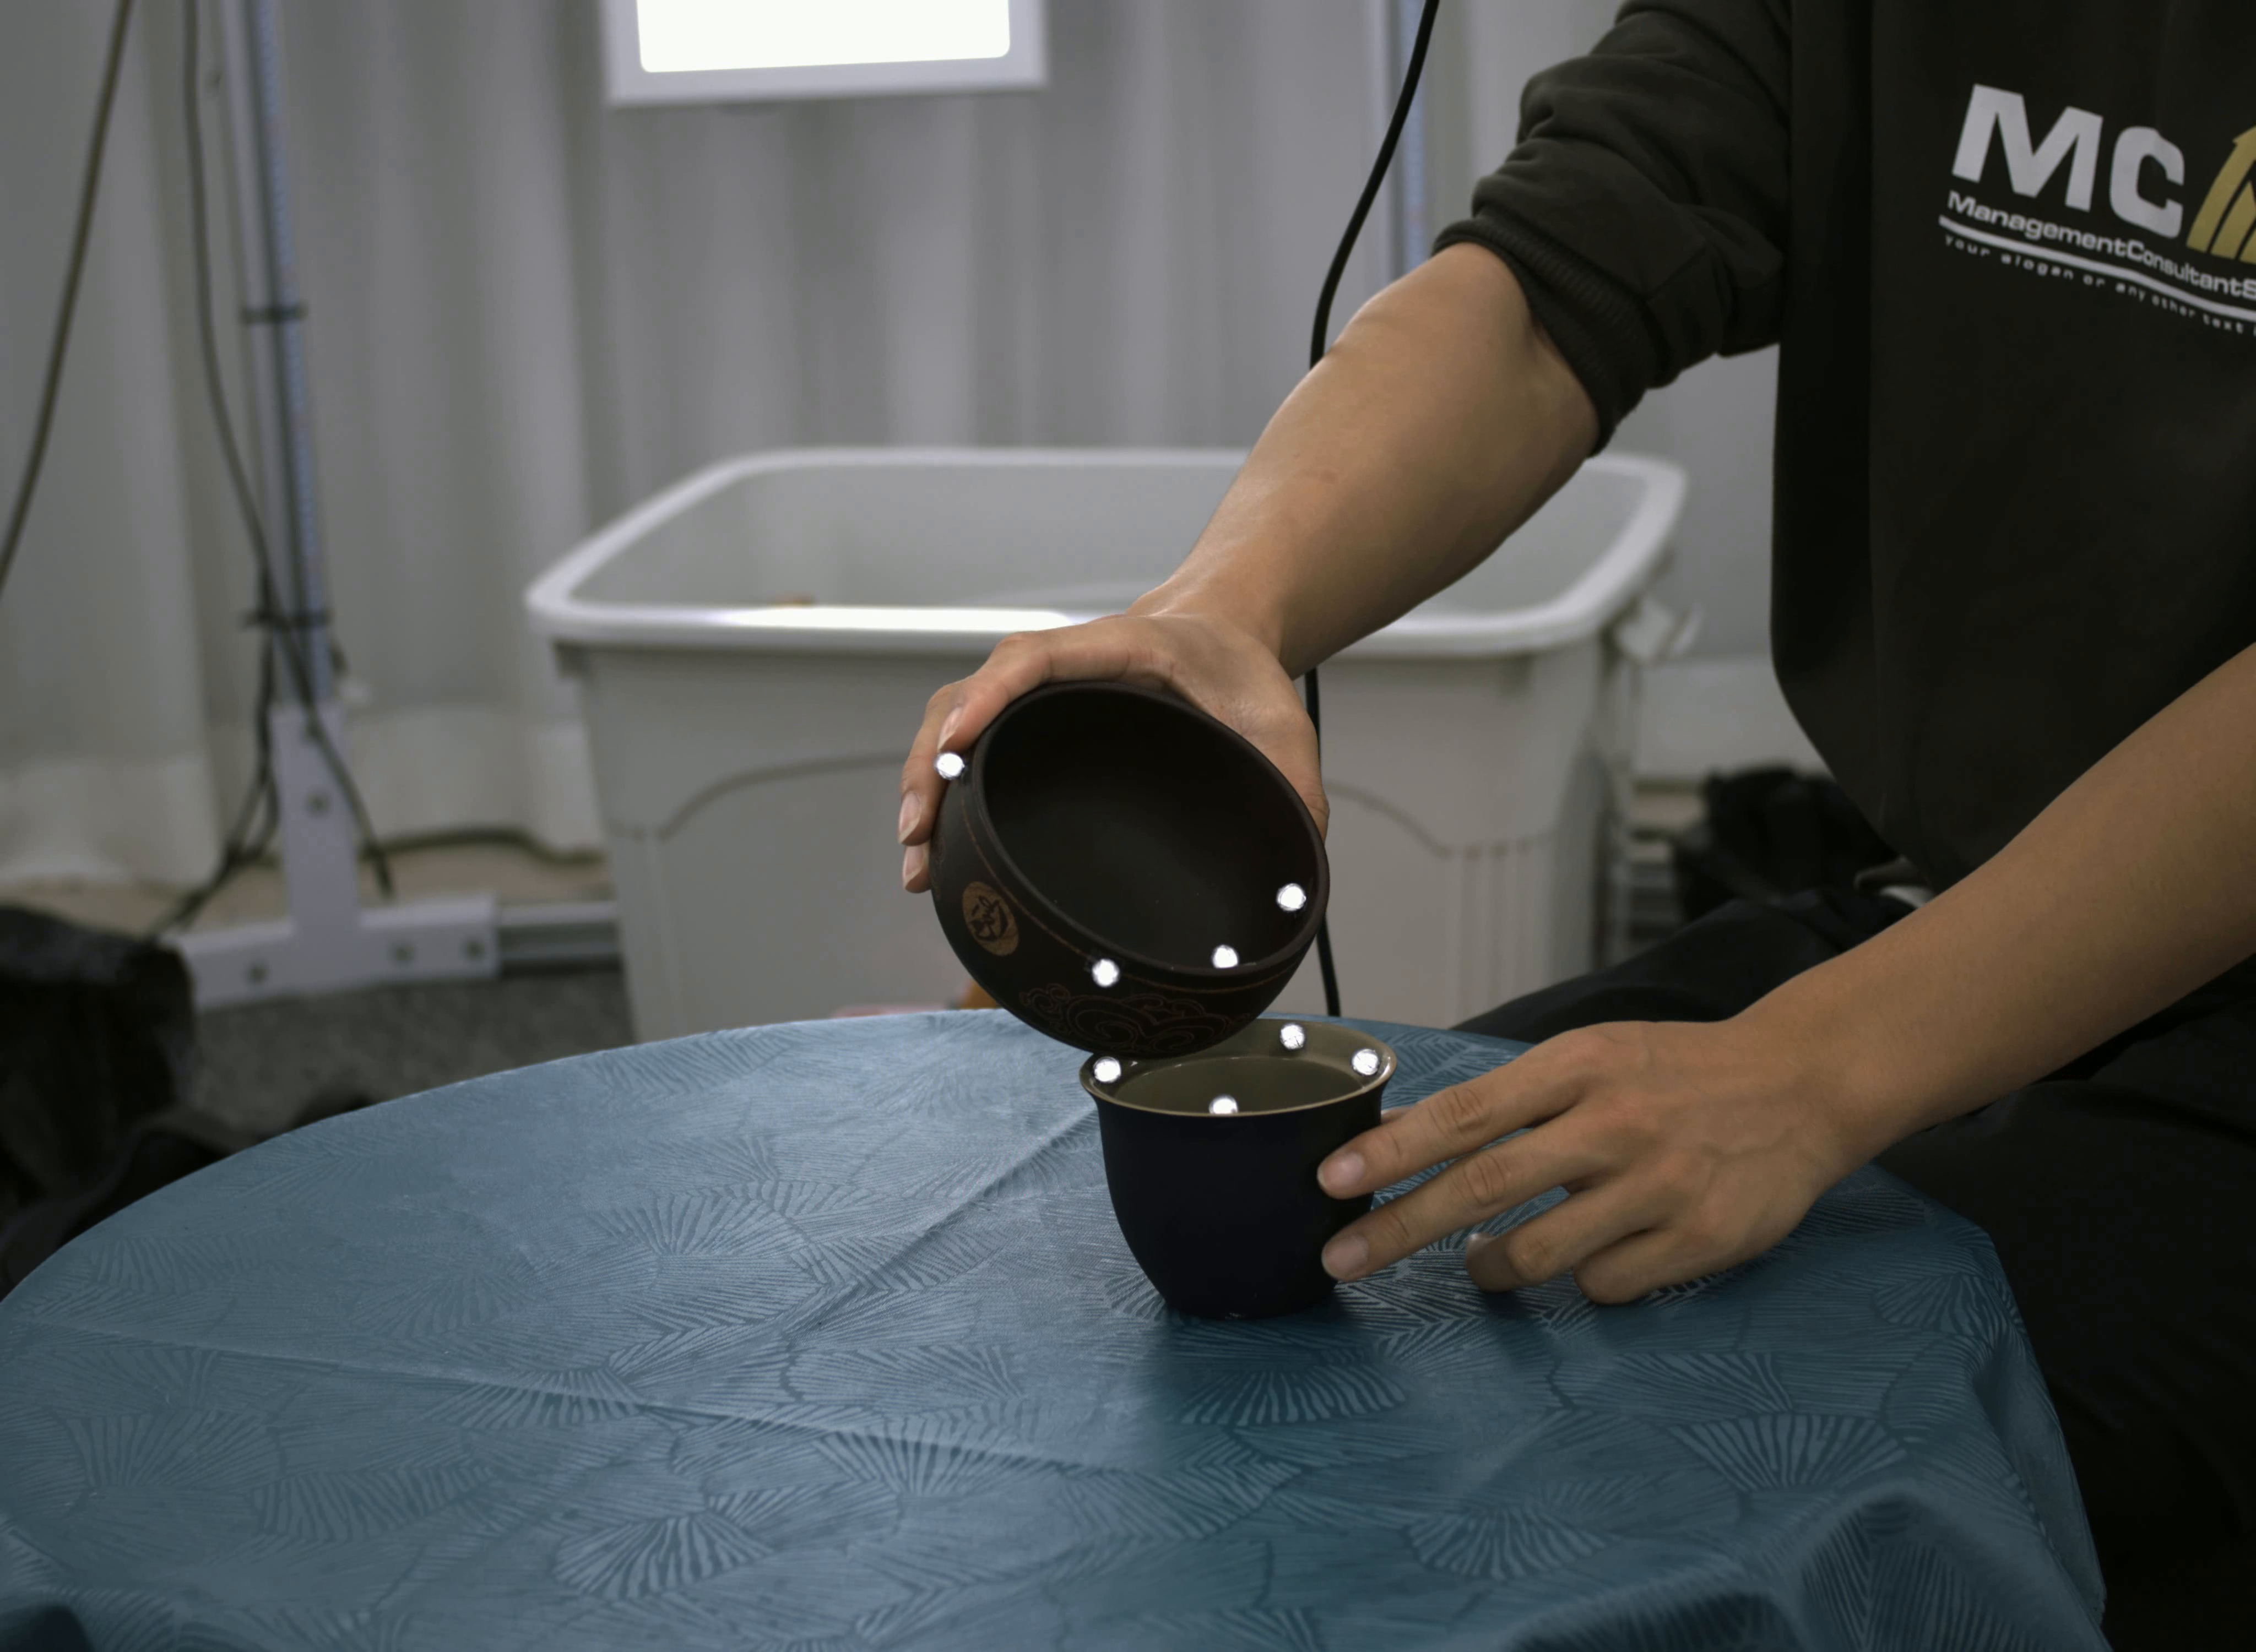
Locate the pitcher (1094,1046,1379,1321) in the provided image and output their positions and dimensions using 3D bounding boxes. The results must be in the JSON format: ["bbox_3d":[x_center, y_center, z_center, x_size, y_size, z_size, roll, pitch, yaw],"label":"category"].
[{"bbox_3d":[0.031,0.104,1.614,0.083,0.071,0.096,-14,17,-29],"label":"pitcher"}]

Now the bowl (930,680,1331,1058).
[{"bbox_3d":[-0.005,0.021,1.631,0.117,0.069,0.120,17,40,-16],"label":"bowl"}]
